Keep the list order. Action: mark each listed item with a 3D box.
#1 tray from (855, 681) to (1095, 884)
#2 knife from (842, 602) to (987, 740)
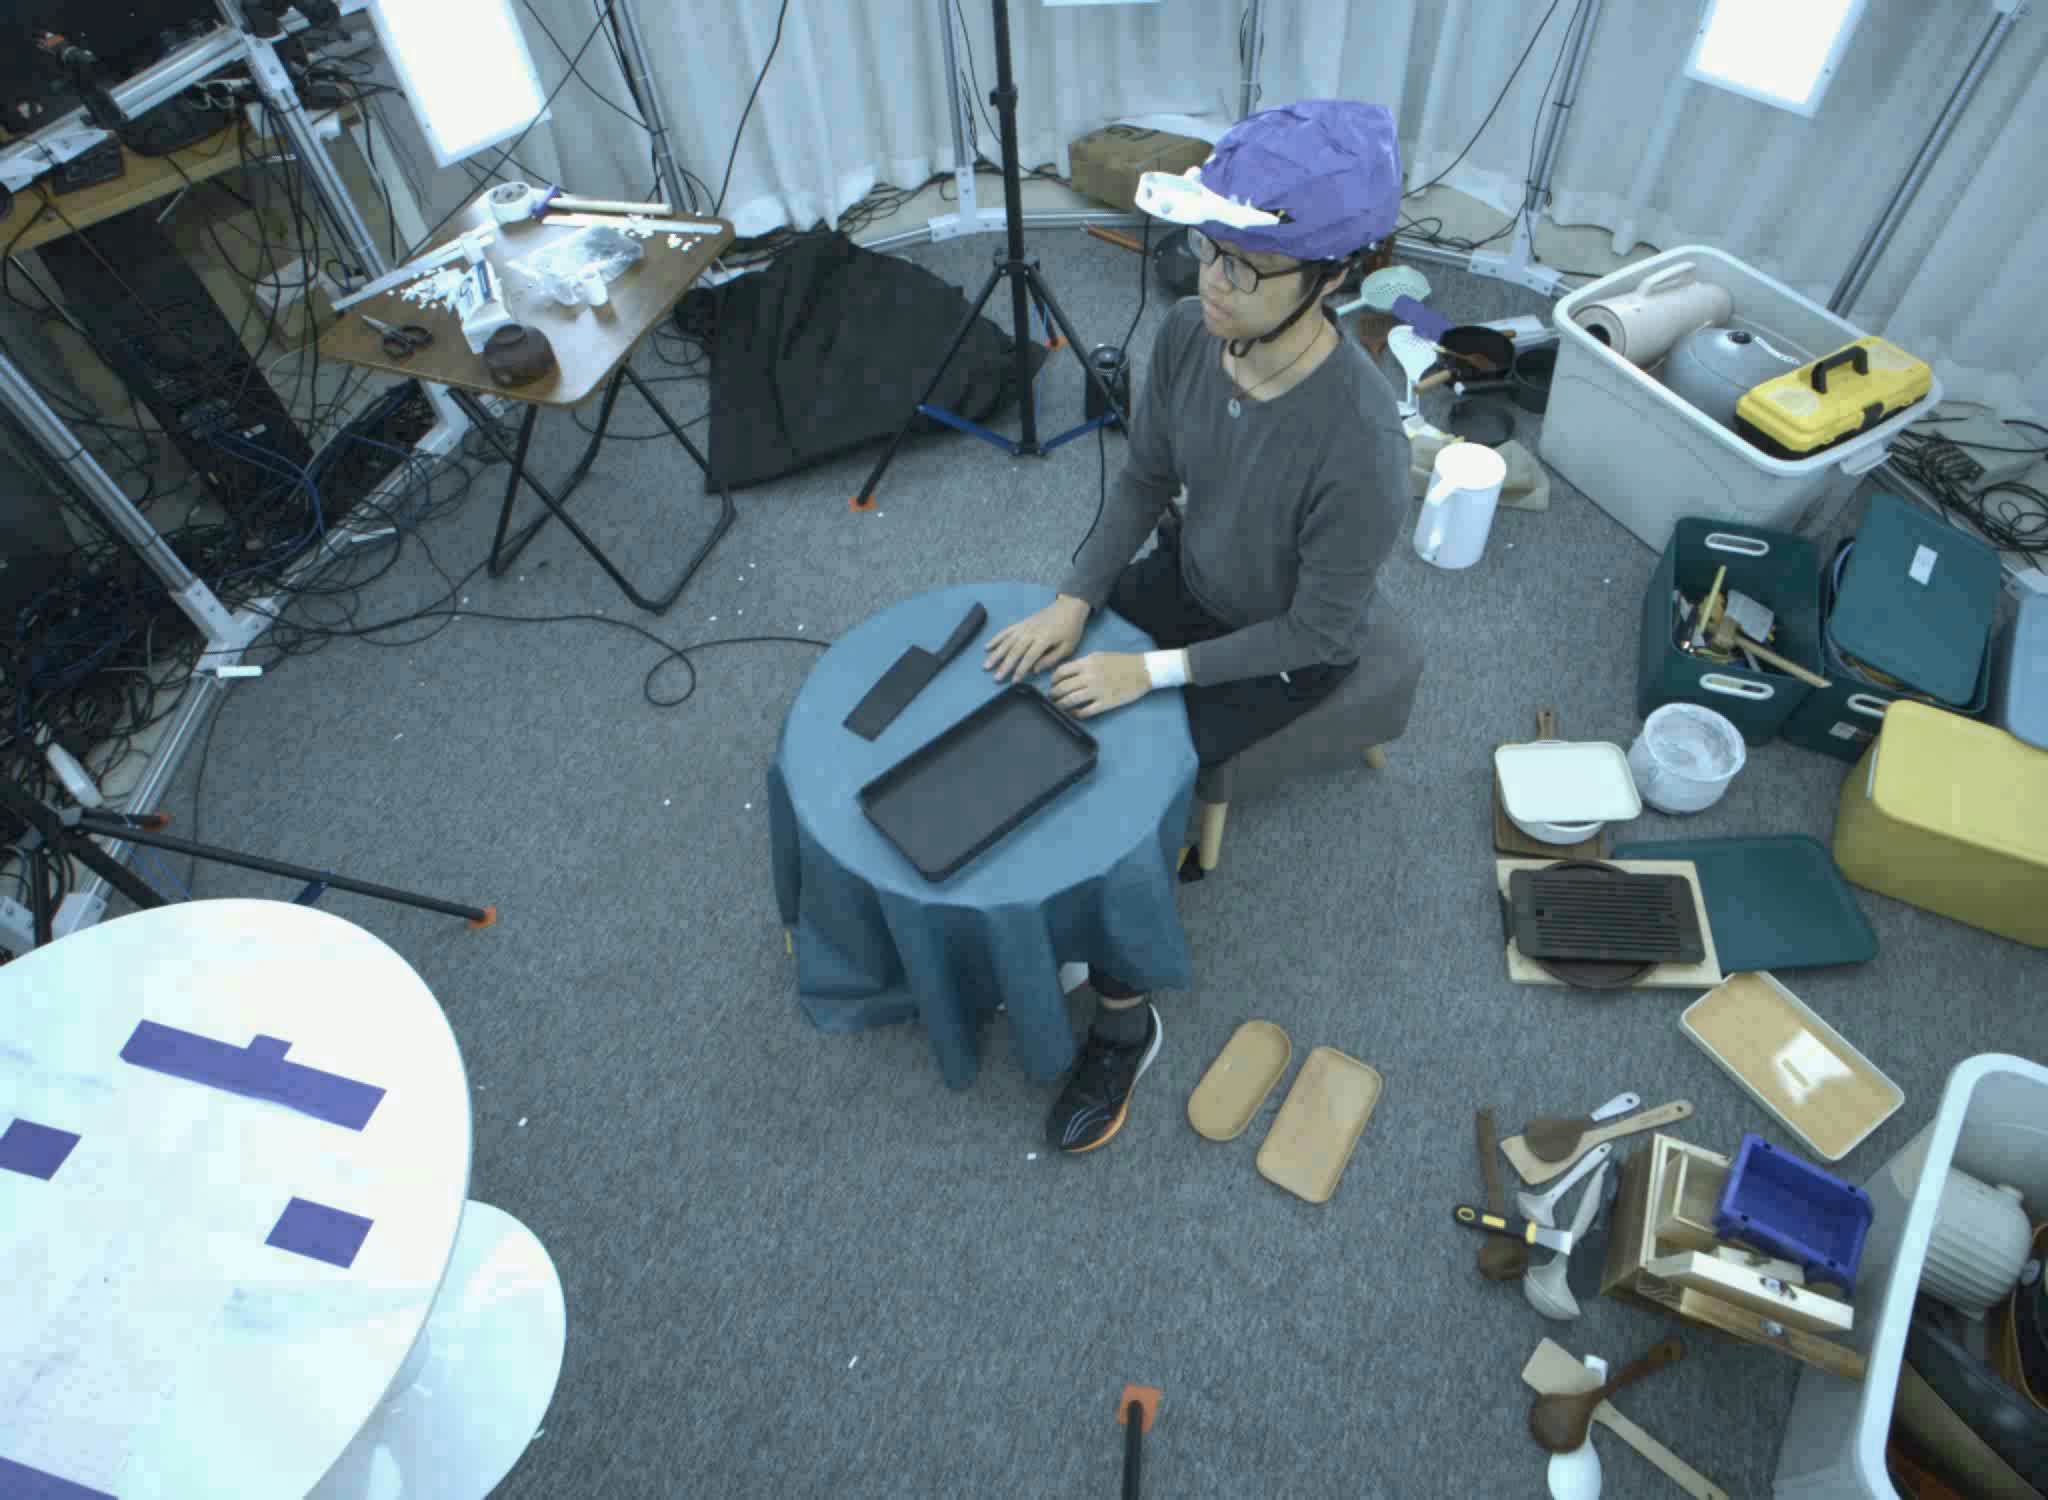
[{"bbox_3d":[-0.066,0.041,1.746,0.320,0.037,0.181,-37,61,-23],"label":"tray"},{"bbox_3d":[-0.162,-0.129,1.883,0.079,0.021,0.304,33,63,24],"label":"knife"}]
